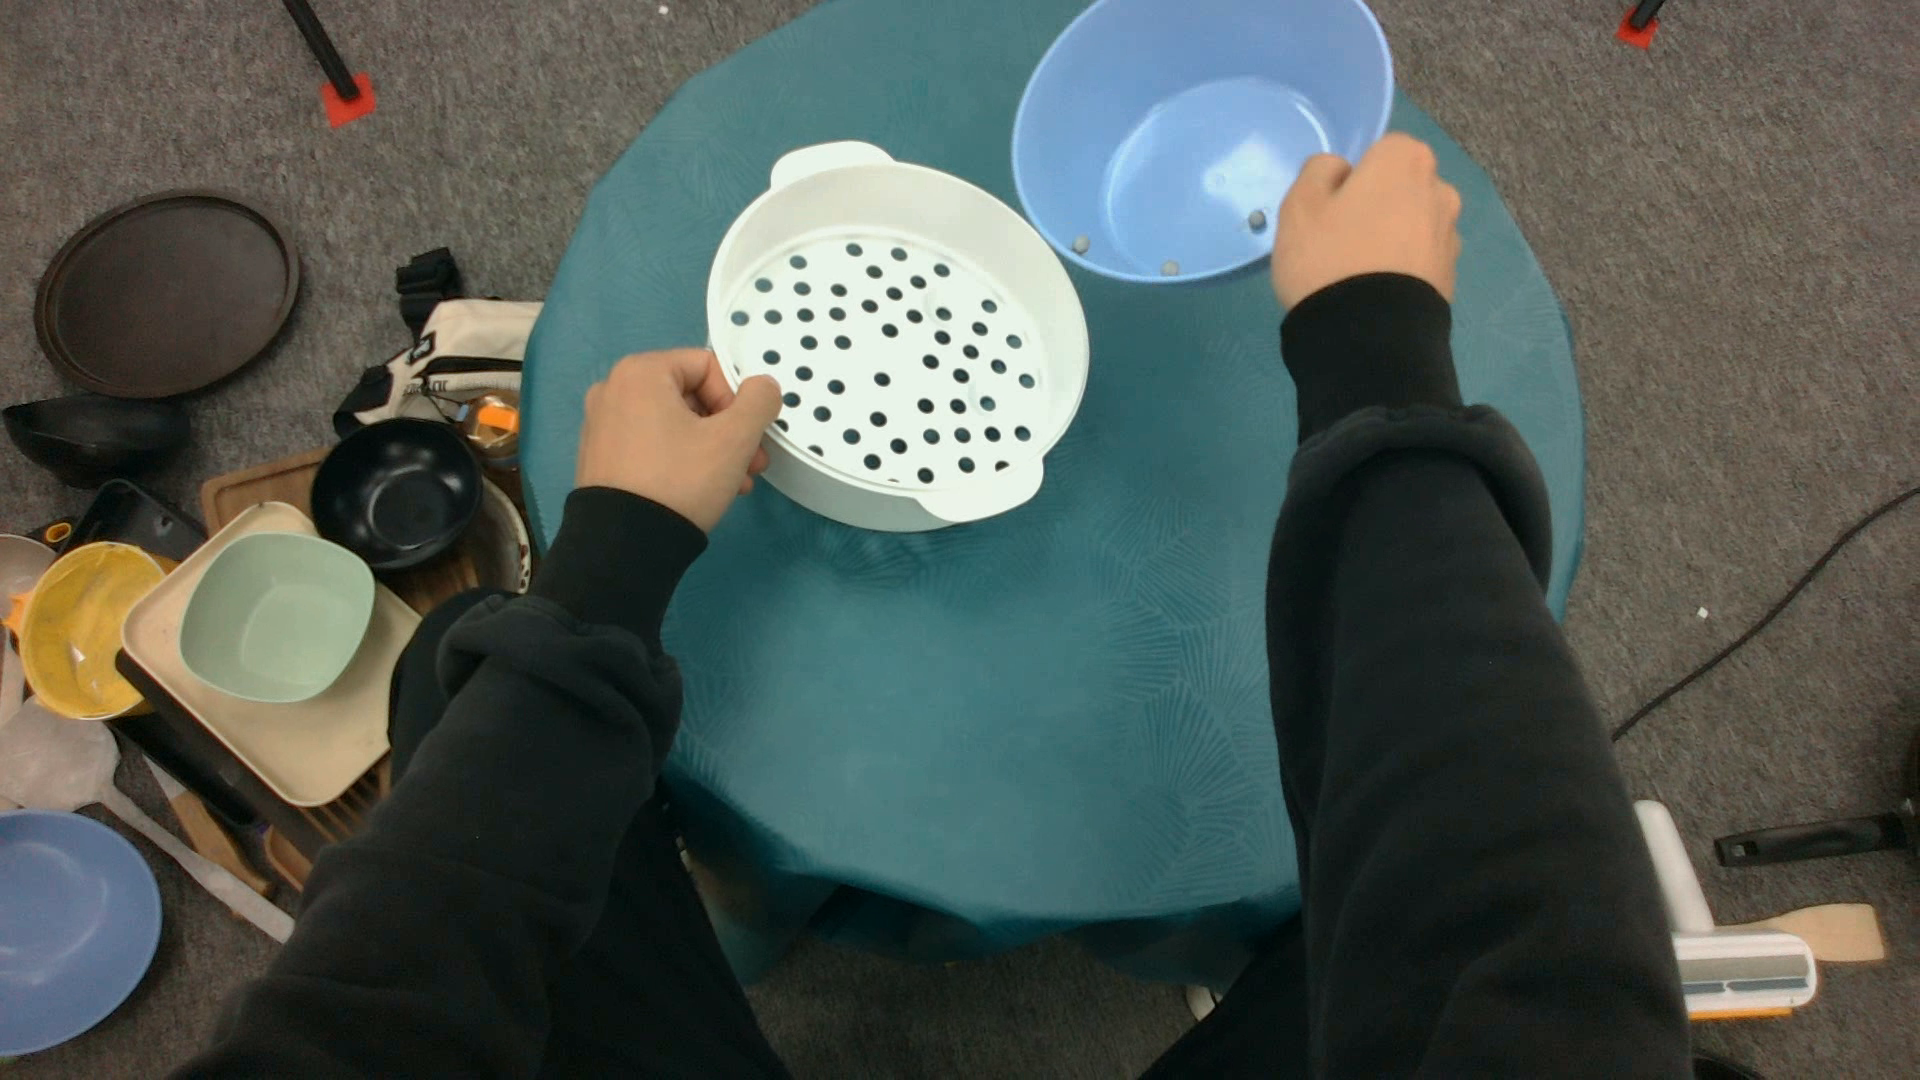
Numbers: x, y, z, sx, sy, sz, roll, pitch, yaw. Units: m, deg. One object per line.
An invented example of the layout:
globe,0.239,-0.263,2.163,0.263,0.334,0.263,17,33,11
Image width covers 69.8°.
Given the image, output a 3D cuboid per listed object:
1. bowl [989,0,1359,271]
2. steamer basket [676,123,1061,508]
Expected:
bowl,0.107,-0.199,0.669,0.175,0.070,0.176,-7,71,20
steamer basket,-0.051,-0.113,0.733,0.202,0.069,0.231,-19,71,-24
